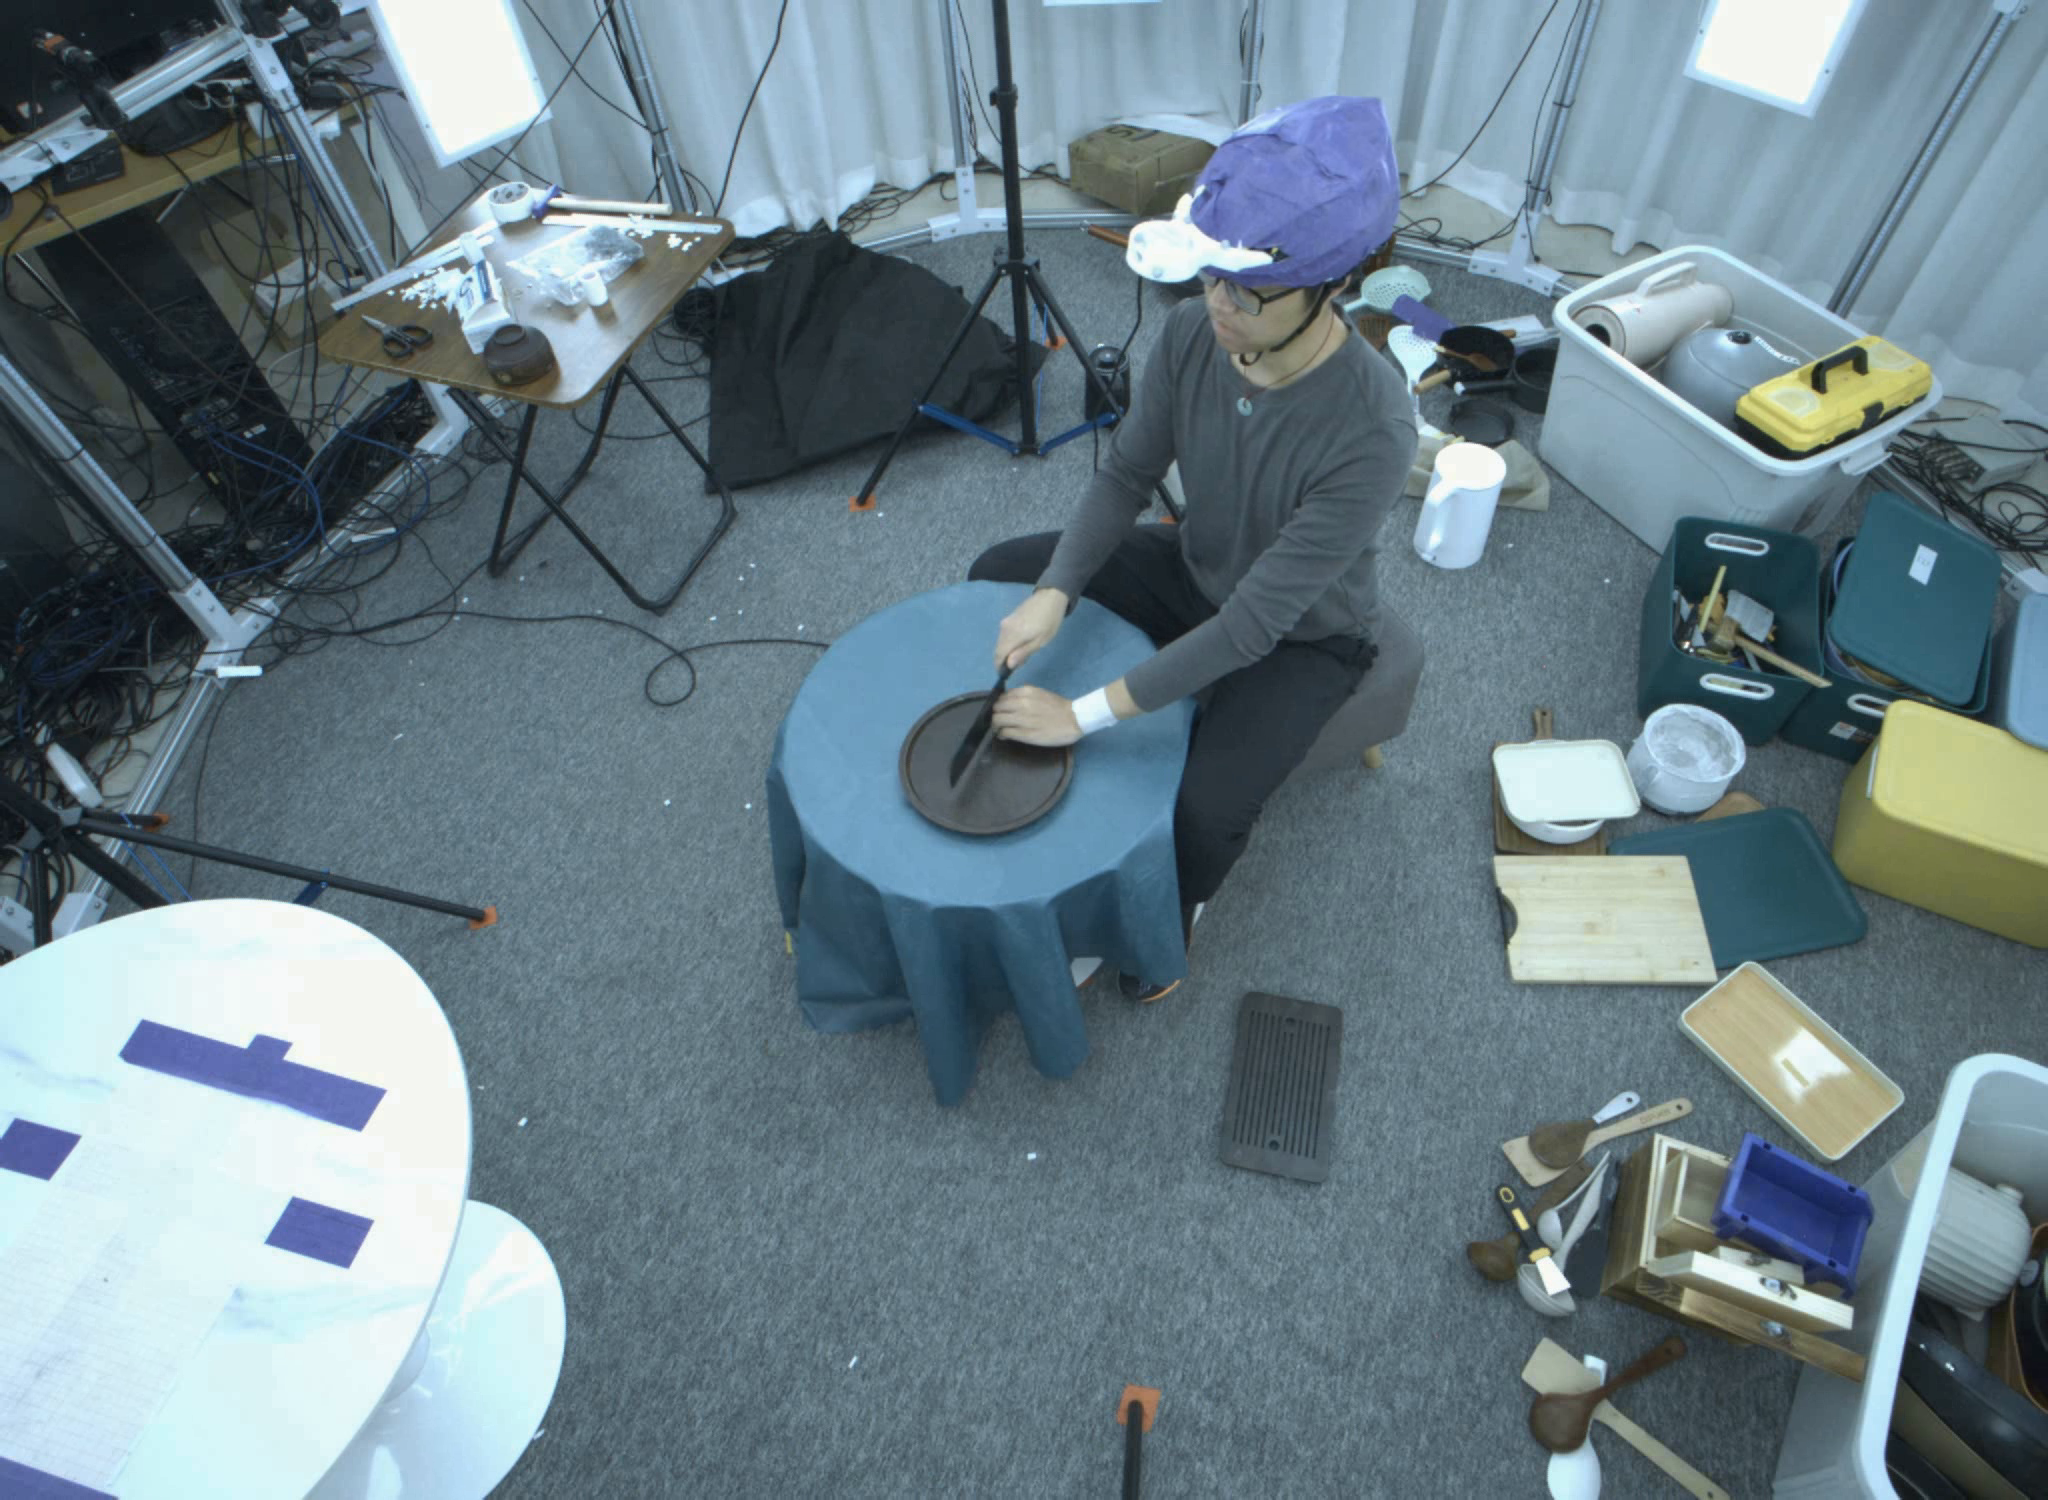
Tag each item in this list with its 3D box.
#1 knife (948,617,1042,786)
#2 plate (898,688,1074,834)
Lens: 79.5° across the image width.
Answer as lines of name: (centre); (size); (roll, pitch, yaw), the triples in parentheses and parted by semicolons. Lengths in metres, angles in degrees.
knife: (-0.042, -0.077, 1.768); (0.020, 0.082, 0.302); (19, 61, 15)
plate: (-0.055, 0.015, 1.772); (0.254, 0.029, 0.252); (-1, 54, 2)
